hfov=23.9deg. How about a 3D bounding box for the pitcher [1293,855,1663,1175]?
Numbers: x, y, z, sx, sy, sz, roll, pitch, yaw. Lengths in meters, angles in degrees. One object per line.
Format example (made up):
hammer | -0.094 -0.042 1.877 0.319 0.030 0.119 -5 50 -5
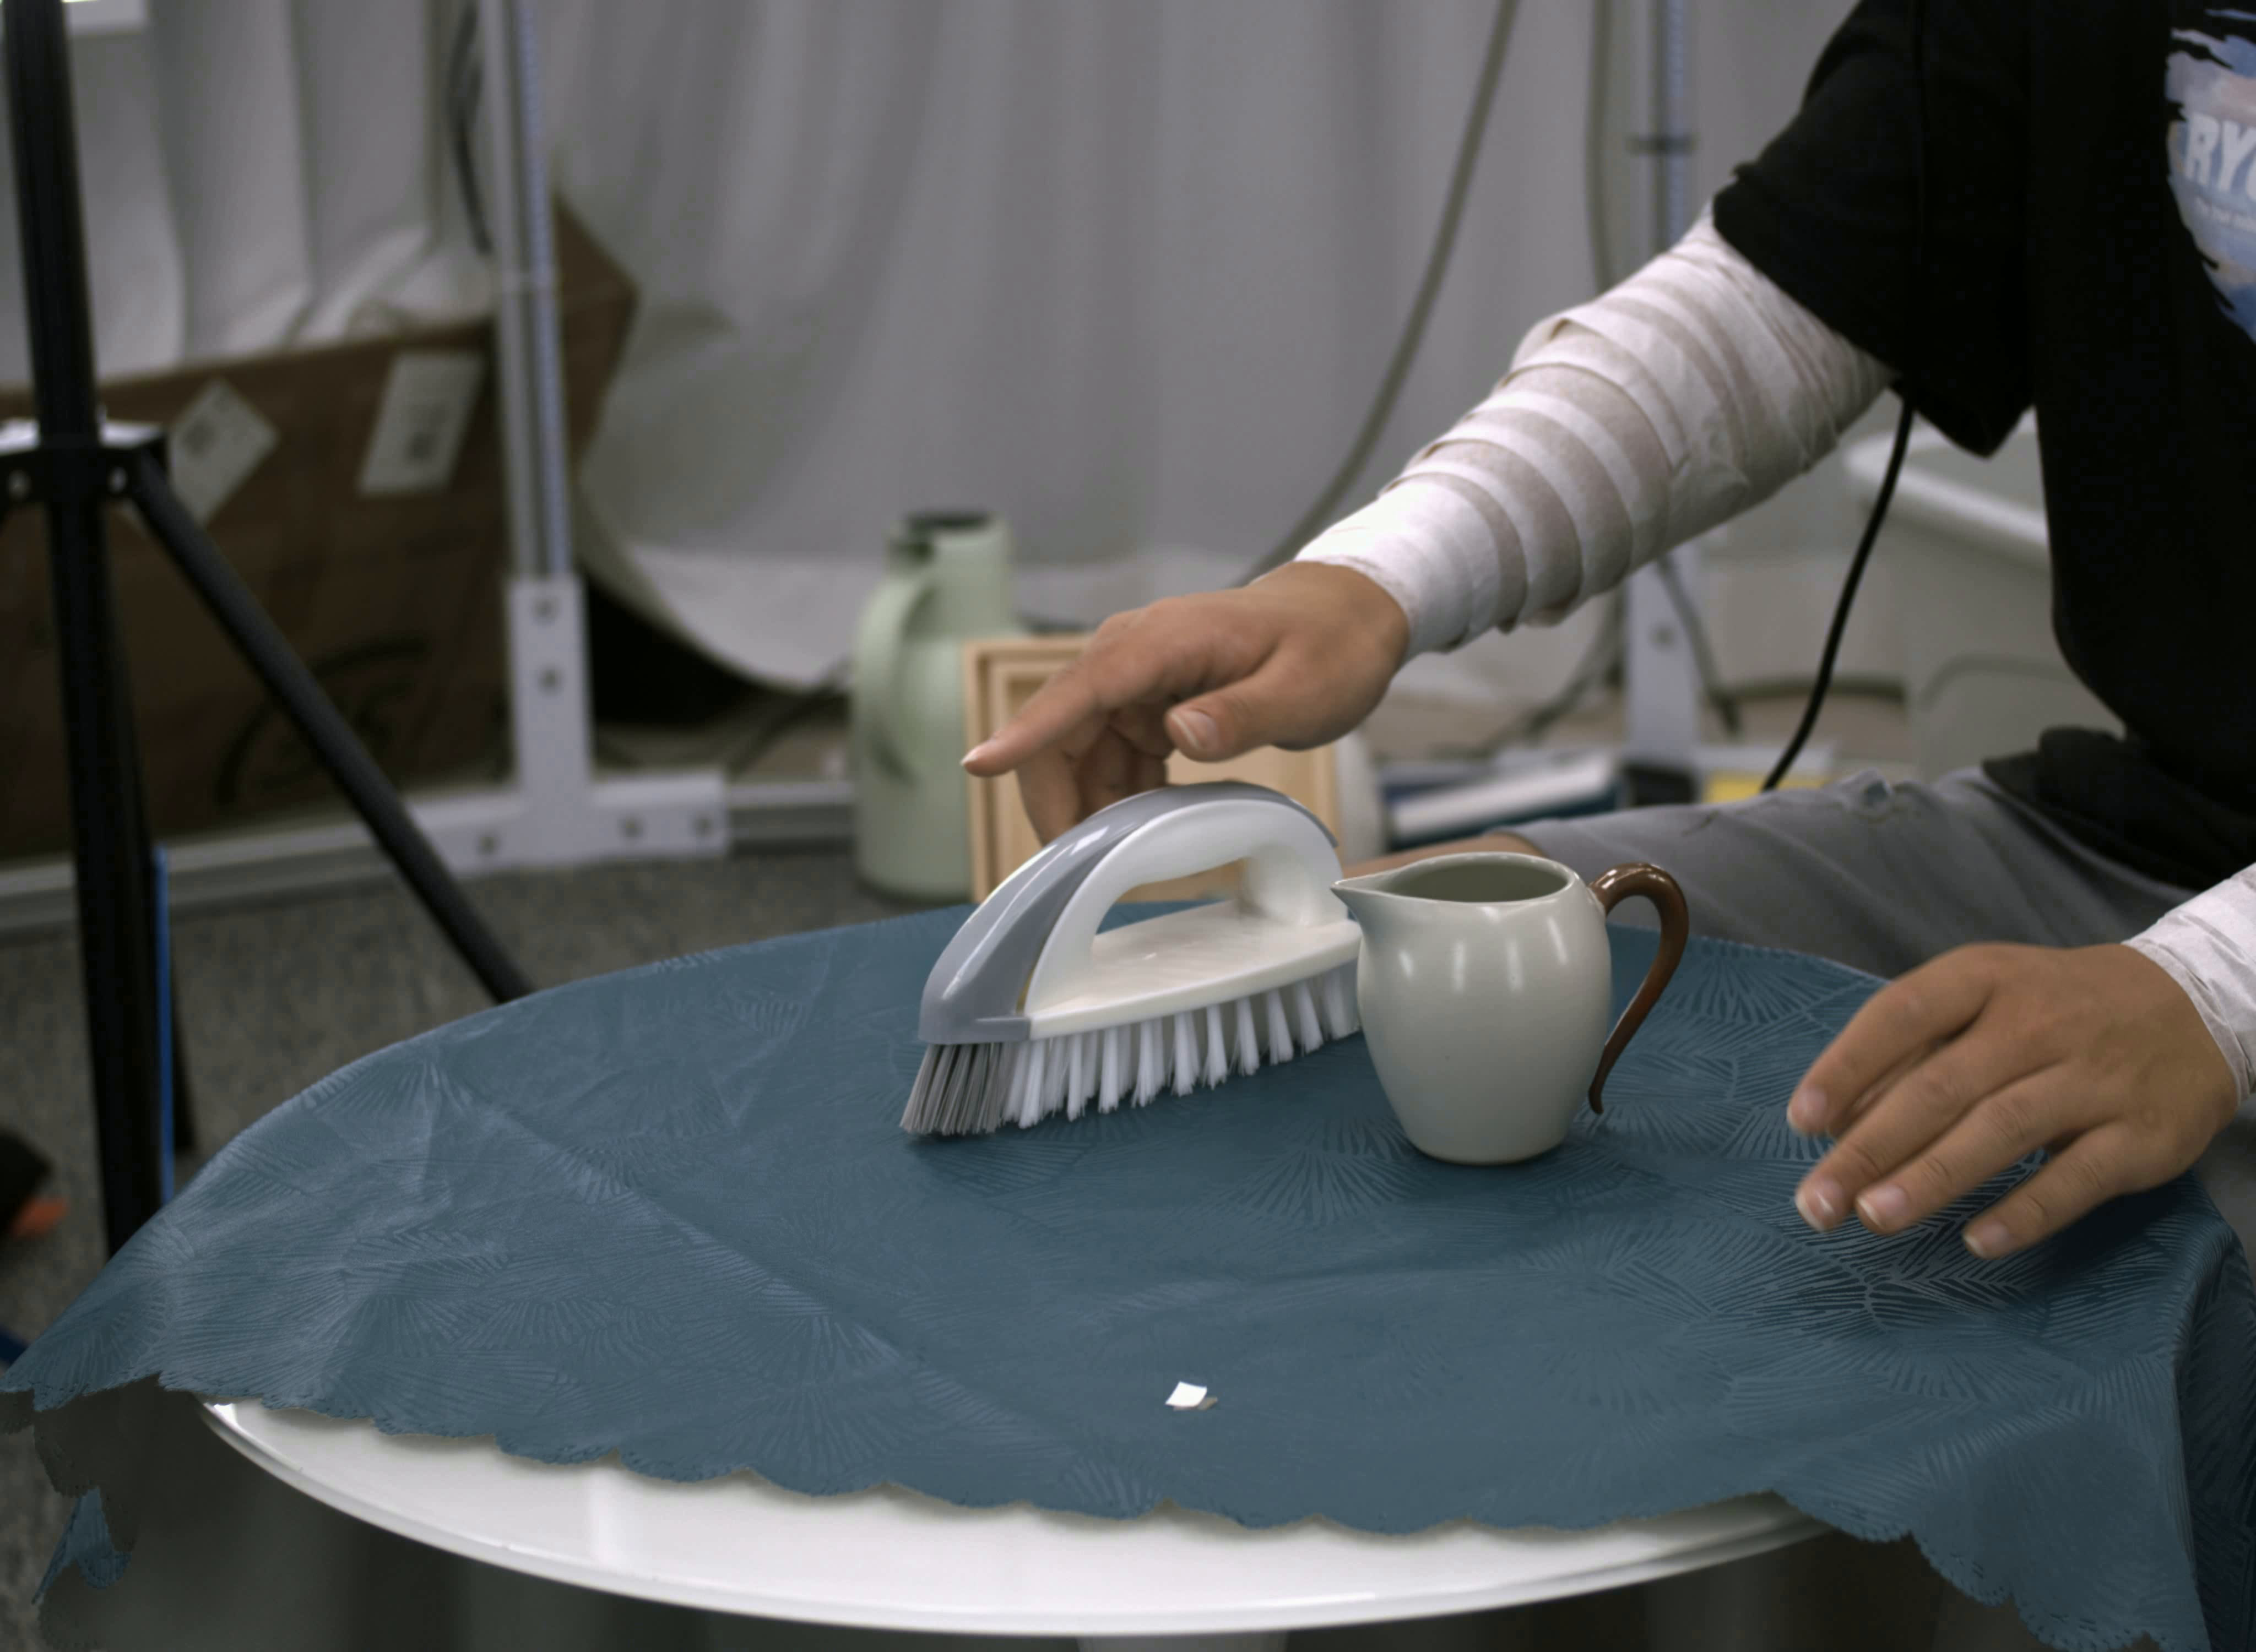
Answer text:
pitcher | 0.105 0.054 1.576 0.117 0.088 0.077 -8 20 -16

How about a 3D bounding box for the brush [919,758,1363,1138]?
brush | 0.002 0.034 1.646 0.172 0.094 0.063 -18 20 -33
